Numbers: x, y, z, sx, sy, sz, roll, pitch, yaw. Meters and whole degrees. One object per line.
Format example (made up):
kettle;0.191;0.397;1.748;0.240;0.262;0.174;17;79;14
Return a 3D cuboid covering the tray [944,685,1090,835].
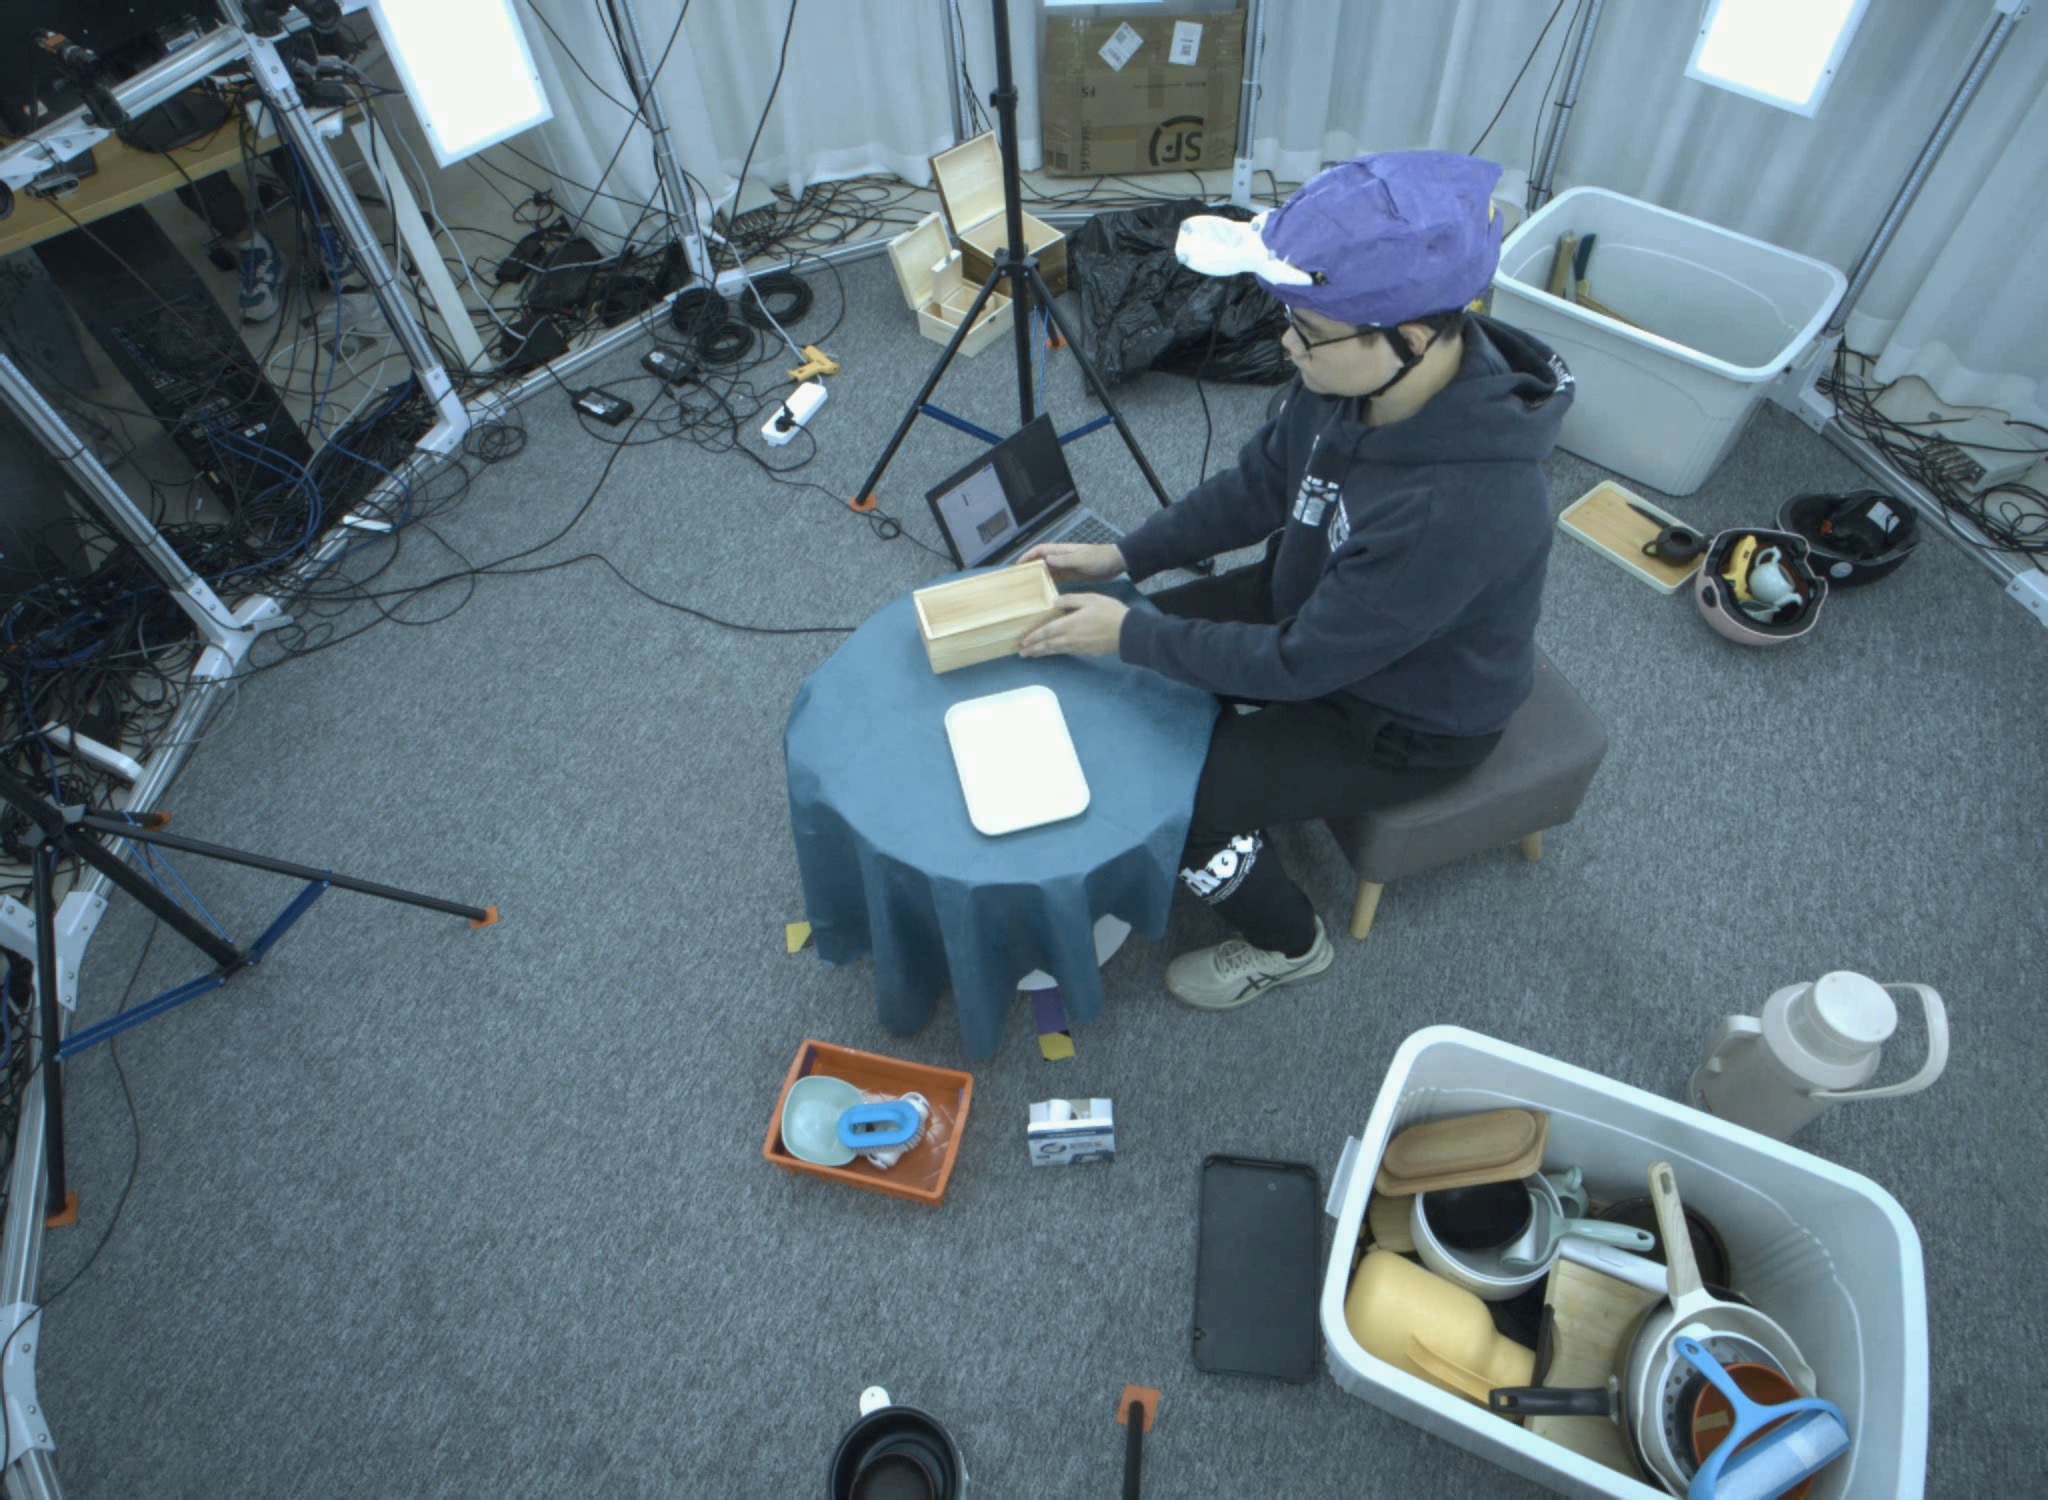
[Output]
tray;-0.012;0.013;1.769;0.172;0.017;0.236;-13;55;-8

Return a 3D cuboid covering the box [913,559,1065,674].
box;-0.054;-0.206;1.885;0.213;0.081;0.106;-16;56;-9
